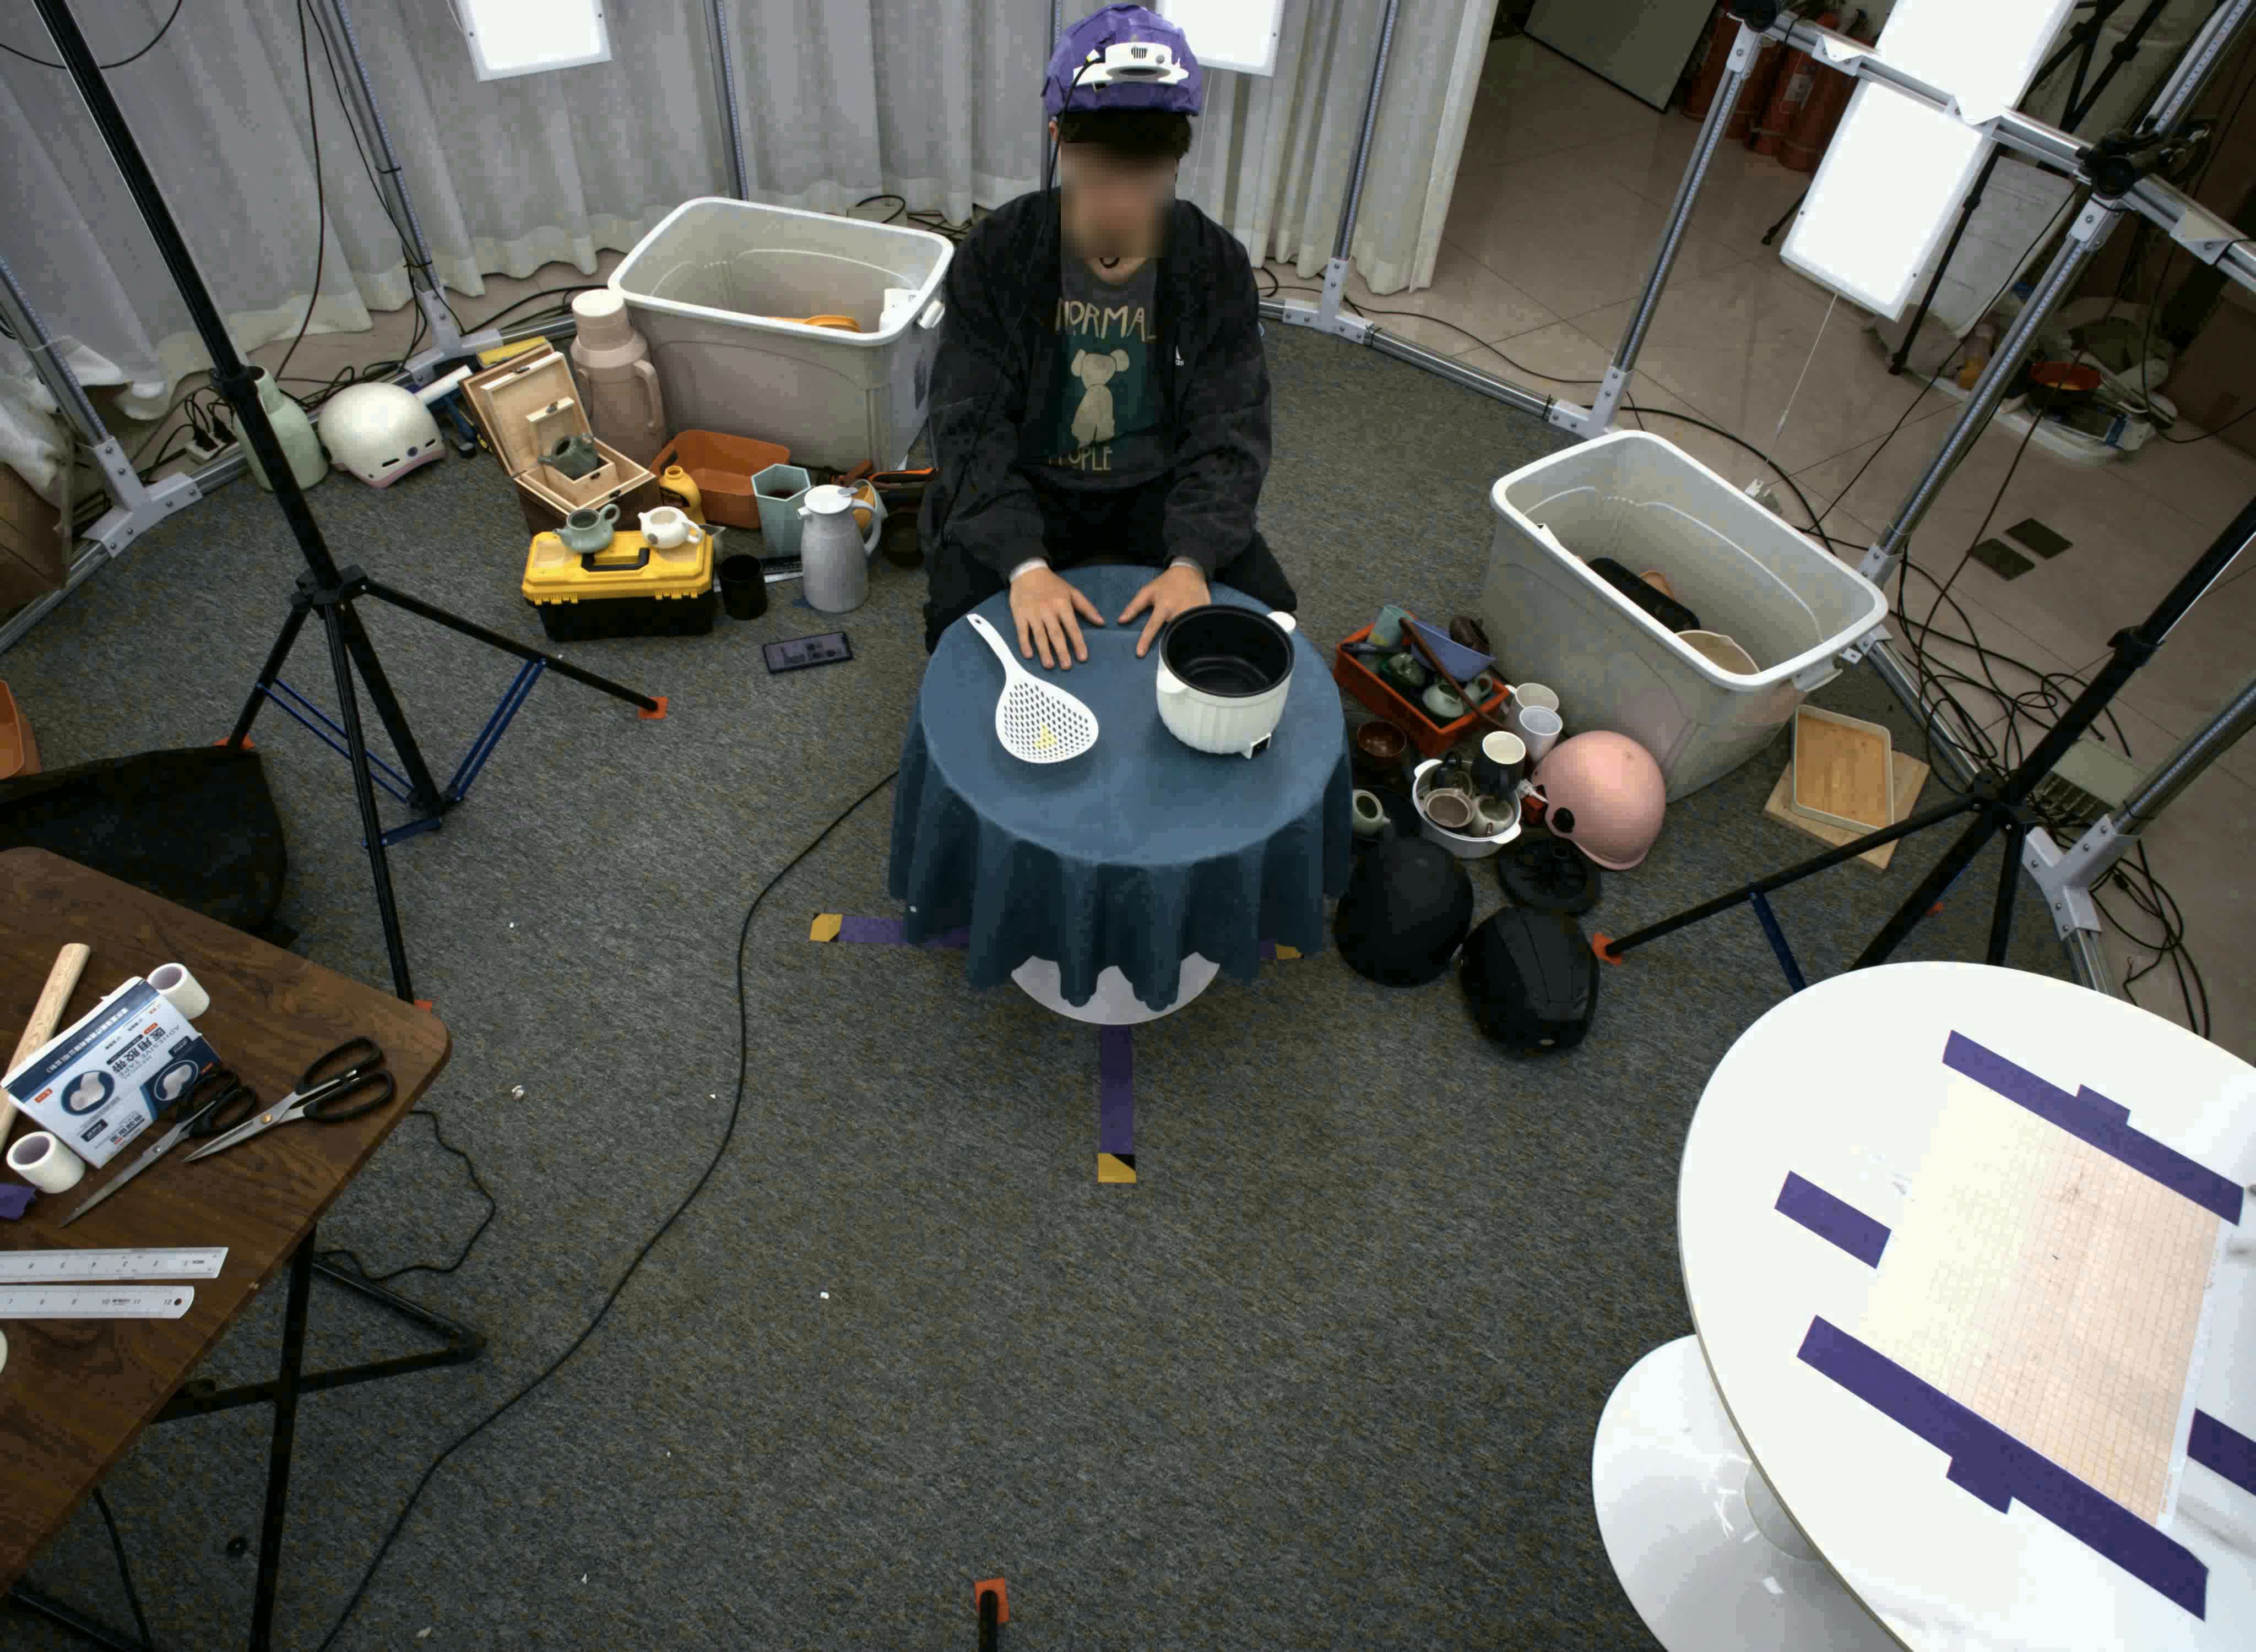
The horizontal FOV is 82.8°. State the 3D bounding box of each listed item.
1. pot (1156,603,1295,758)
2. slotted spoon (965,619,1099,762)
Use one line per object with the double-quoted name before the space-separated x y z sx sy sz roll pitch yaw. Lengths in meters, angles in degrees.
"pot" 0.123 -0.197 1.756 0.242 0.139 0.194 -30 60 -28
"slotted spoon" -0.156 -0.201 1.805 0.137 0.049 0.356 -18 52 -16
